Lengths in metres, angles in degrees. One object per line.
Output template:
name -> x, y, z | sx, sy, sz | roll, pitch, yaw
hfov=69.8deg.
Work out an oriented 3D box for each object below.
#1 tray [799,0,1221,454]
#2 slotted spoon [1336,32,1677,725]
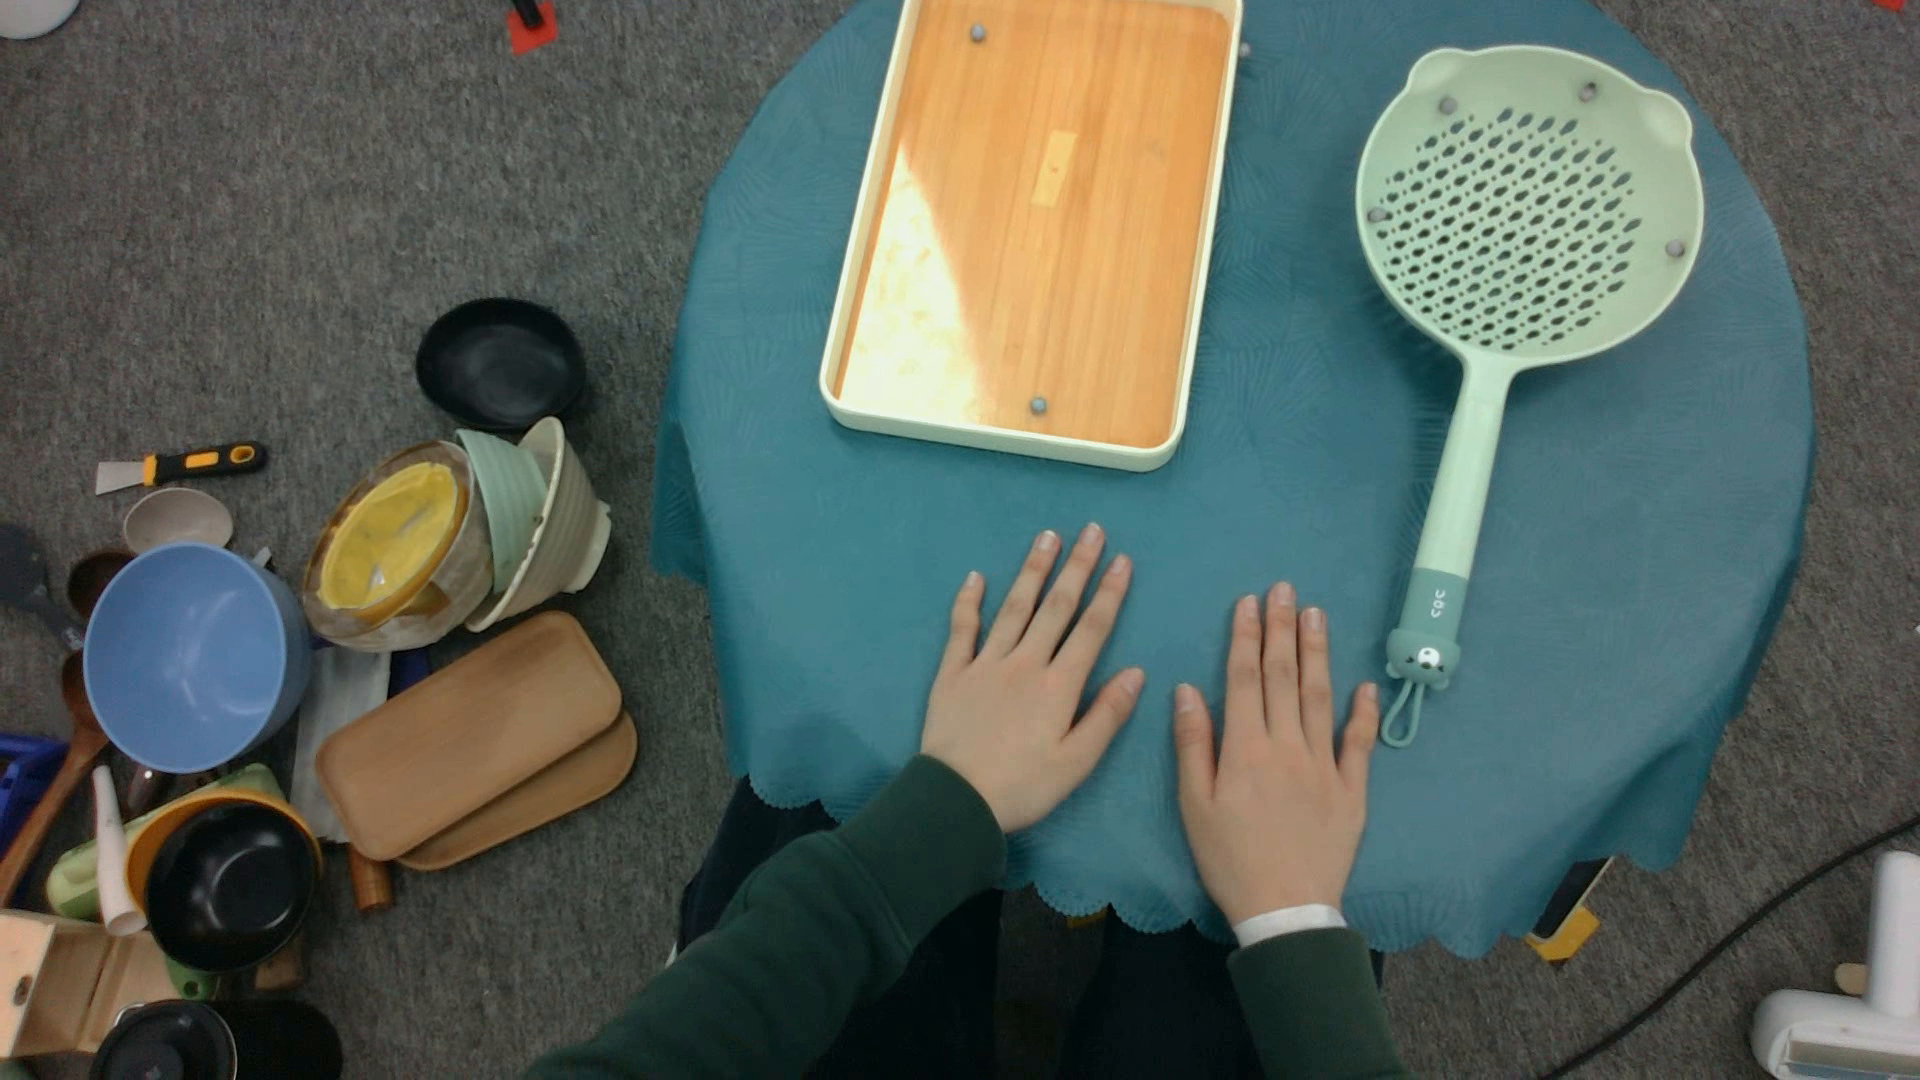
tray -> 0.033, -0.198, 0.755 | 0.191, 0.027, 0.301 | 9, 71, 5
slotted spoon -> 0.250, -0.085, 0.690 | 0.169, 0.075, 0.360 | 15, 72, 7
